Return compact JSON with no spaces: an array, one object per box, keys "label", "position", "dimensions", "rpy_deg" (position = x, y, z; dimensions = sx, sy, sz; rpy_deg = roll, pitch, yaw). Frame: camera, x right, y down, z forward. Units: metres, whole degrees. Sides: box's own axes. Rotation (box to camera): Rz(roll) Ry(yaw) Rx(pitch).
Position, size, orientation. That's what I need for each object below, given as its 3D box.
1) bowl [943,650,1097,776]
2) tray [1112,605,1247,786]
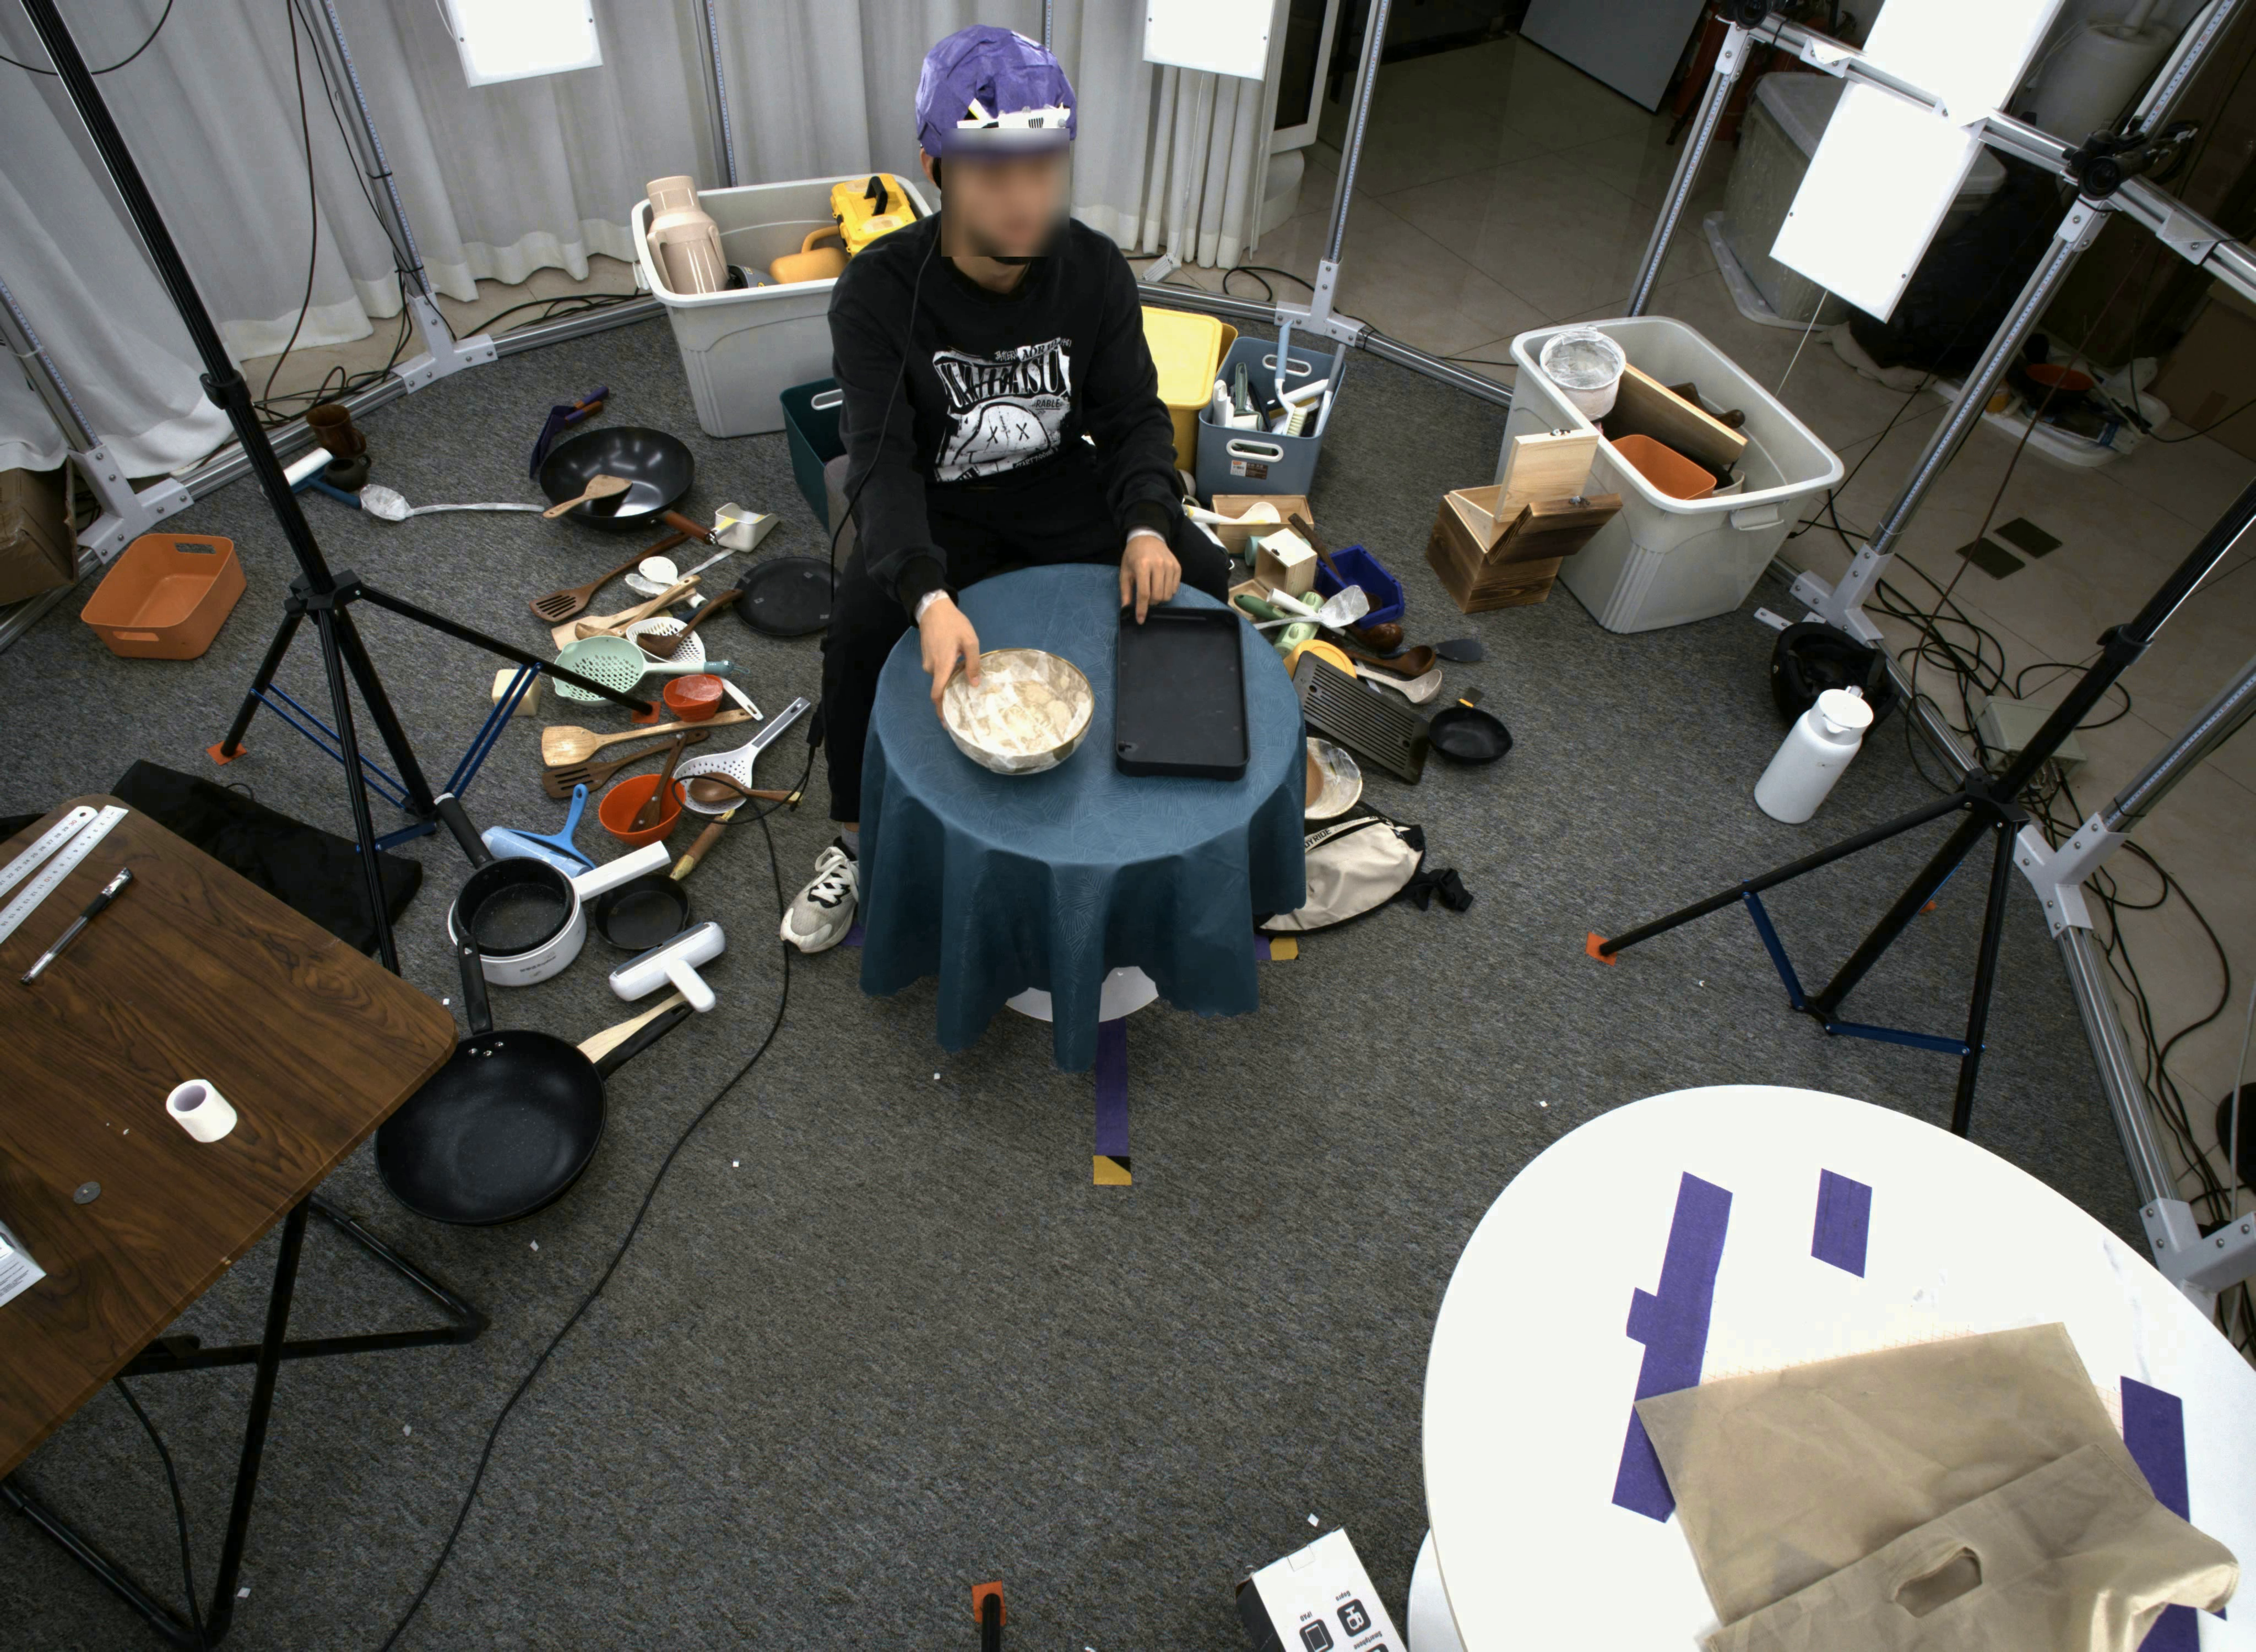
[{"label":"bowl","position":[-0.142,-0.140,1.736],"dimensions":[0.214,0.092,0.220],"rpy_deg":[1,49,-1]},{"label":"tray","position":[0.074,-0.192,1.837],"dimensions":[0.184,0.036,0.326],"rpy_deg":[4,50,-1]}]
